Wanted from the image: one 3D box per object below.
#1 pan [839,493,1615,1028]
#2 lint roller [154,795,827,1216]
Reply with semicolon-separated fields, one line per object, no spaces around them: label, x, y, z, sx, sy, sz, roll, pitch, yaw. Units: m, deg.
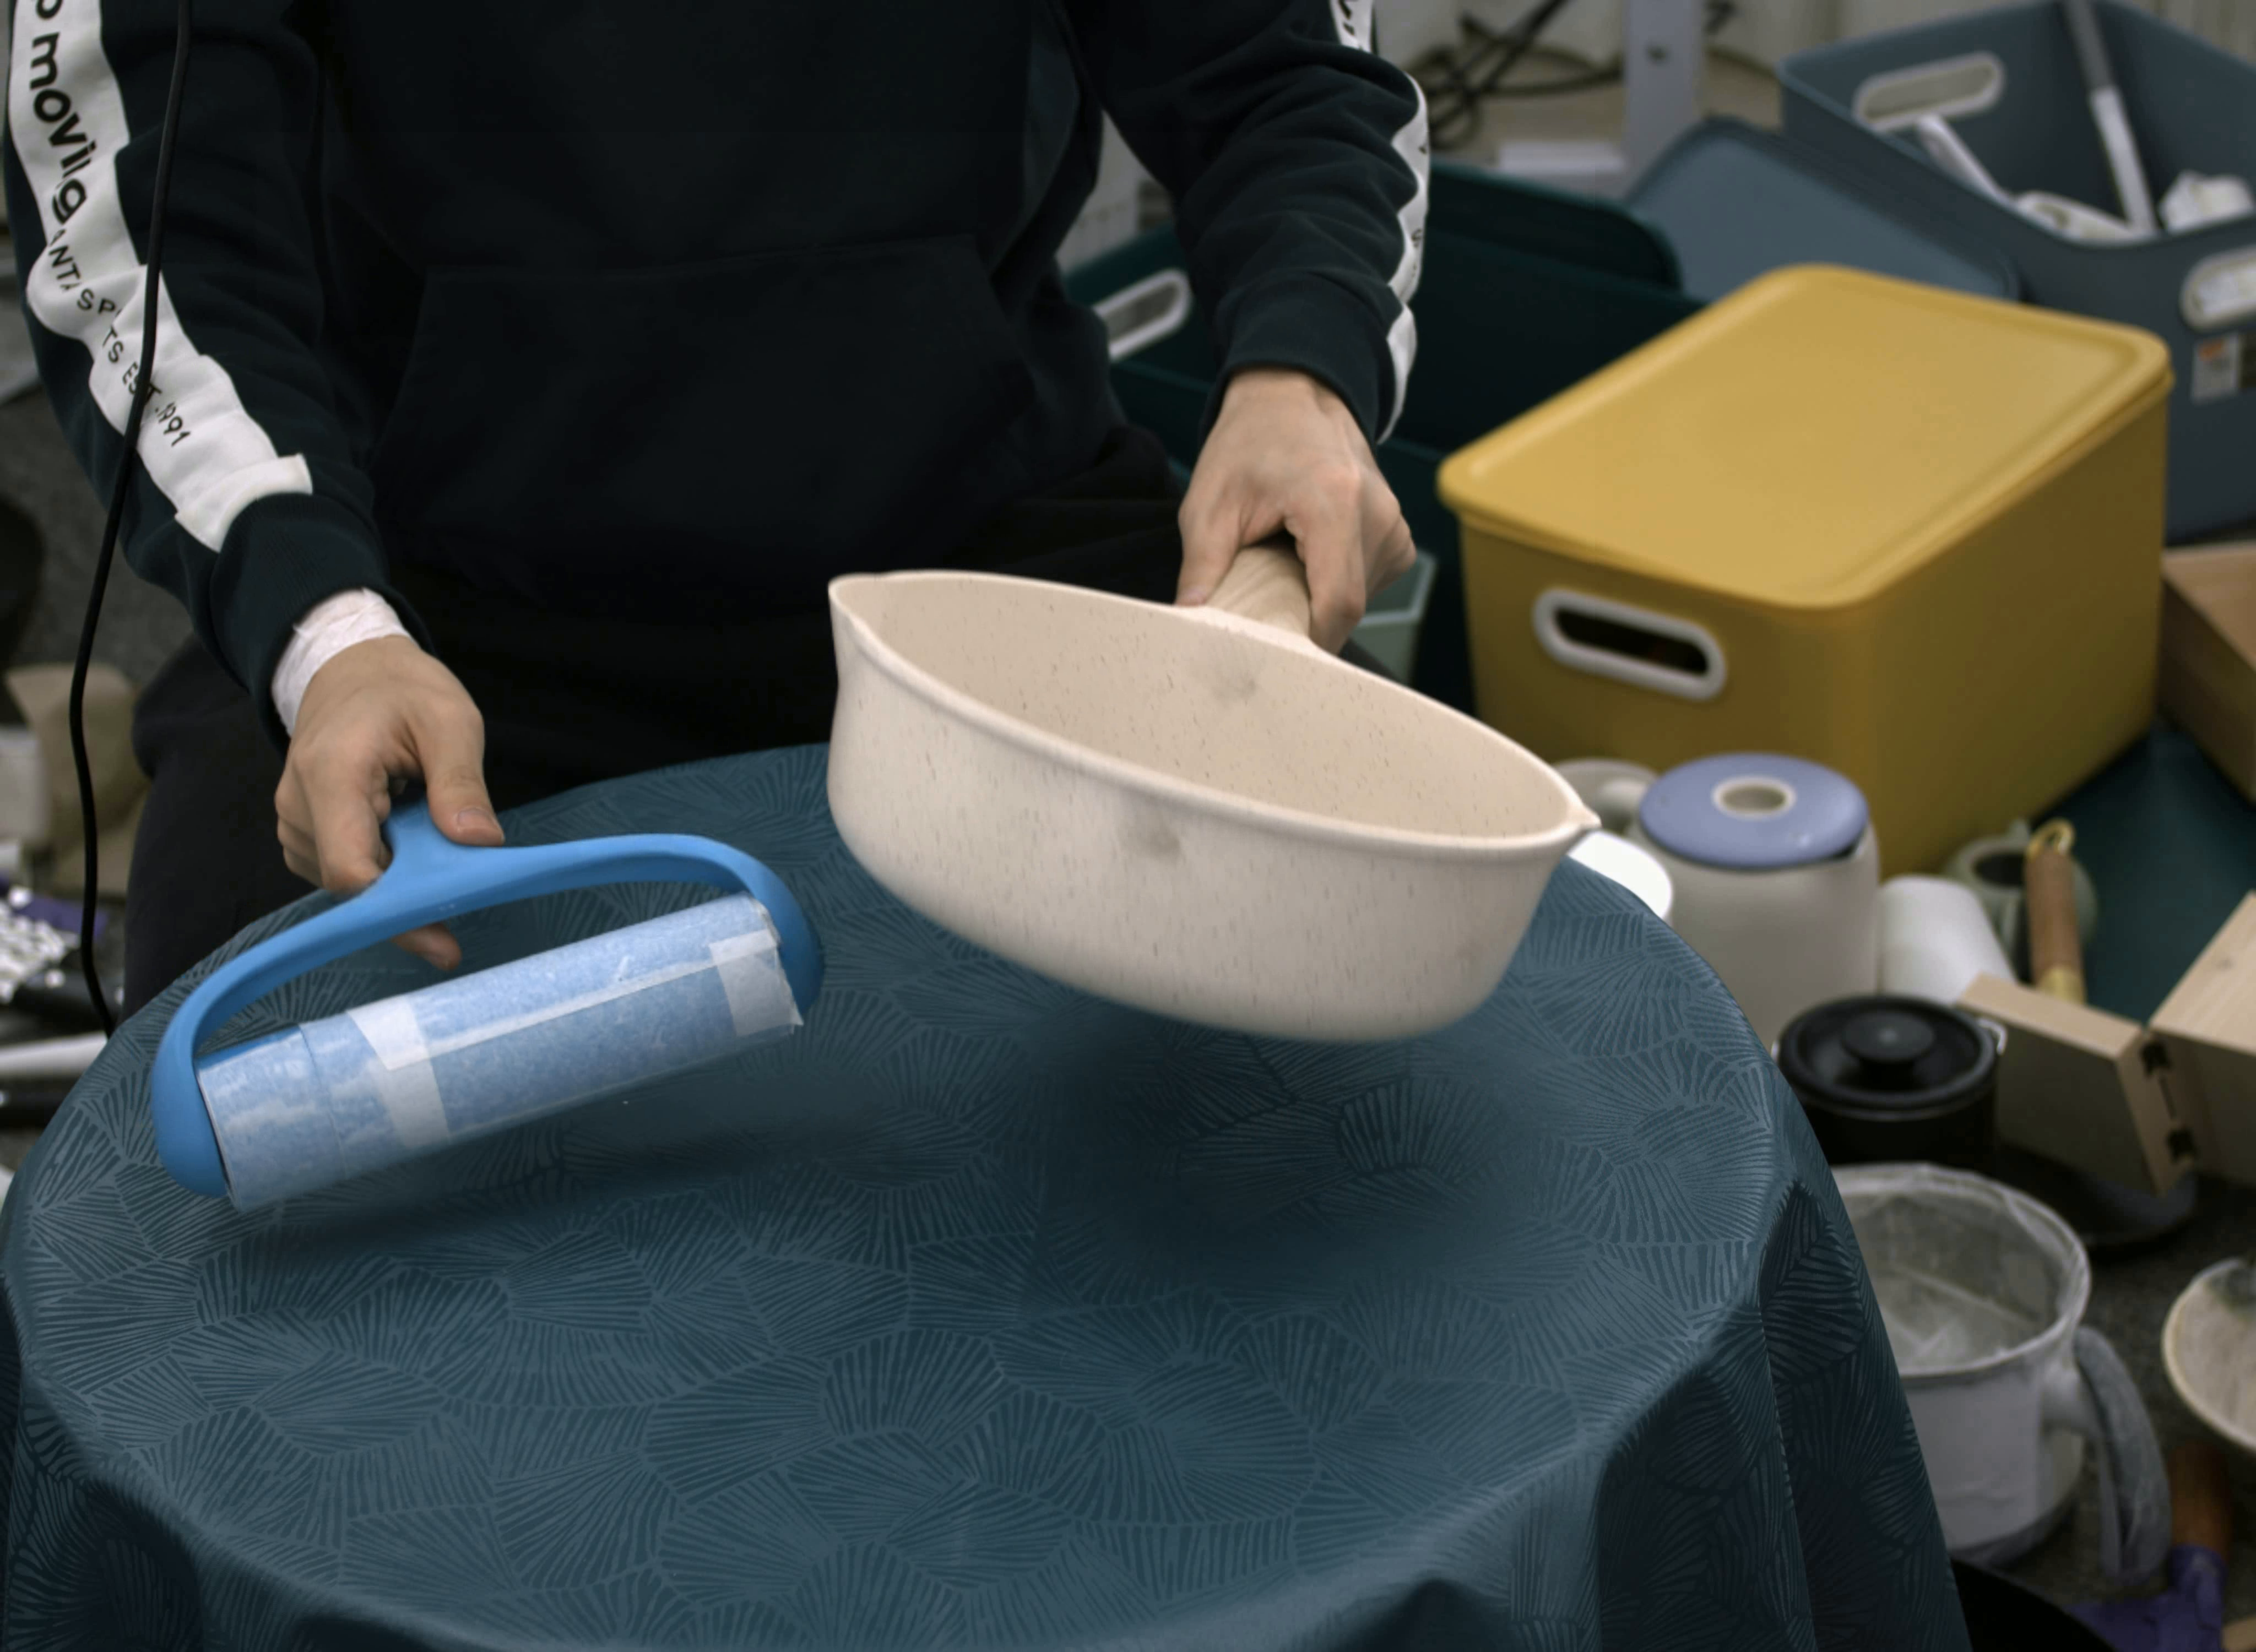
pan;0.032;-0.032;1.927;0.262;0.101;0.438;16;13;2
lint roller;-0.232;0.036;1.895;0.229;0.067;0.182;-19;47;-15
